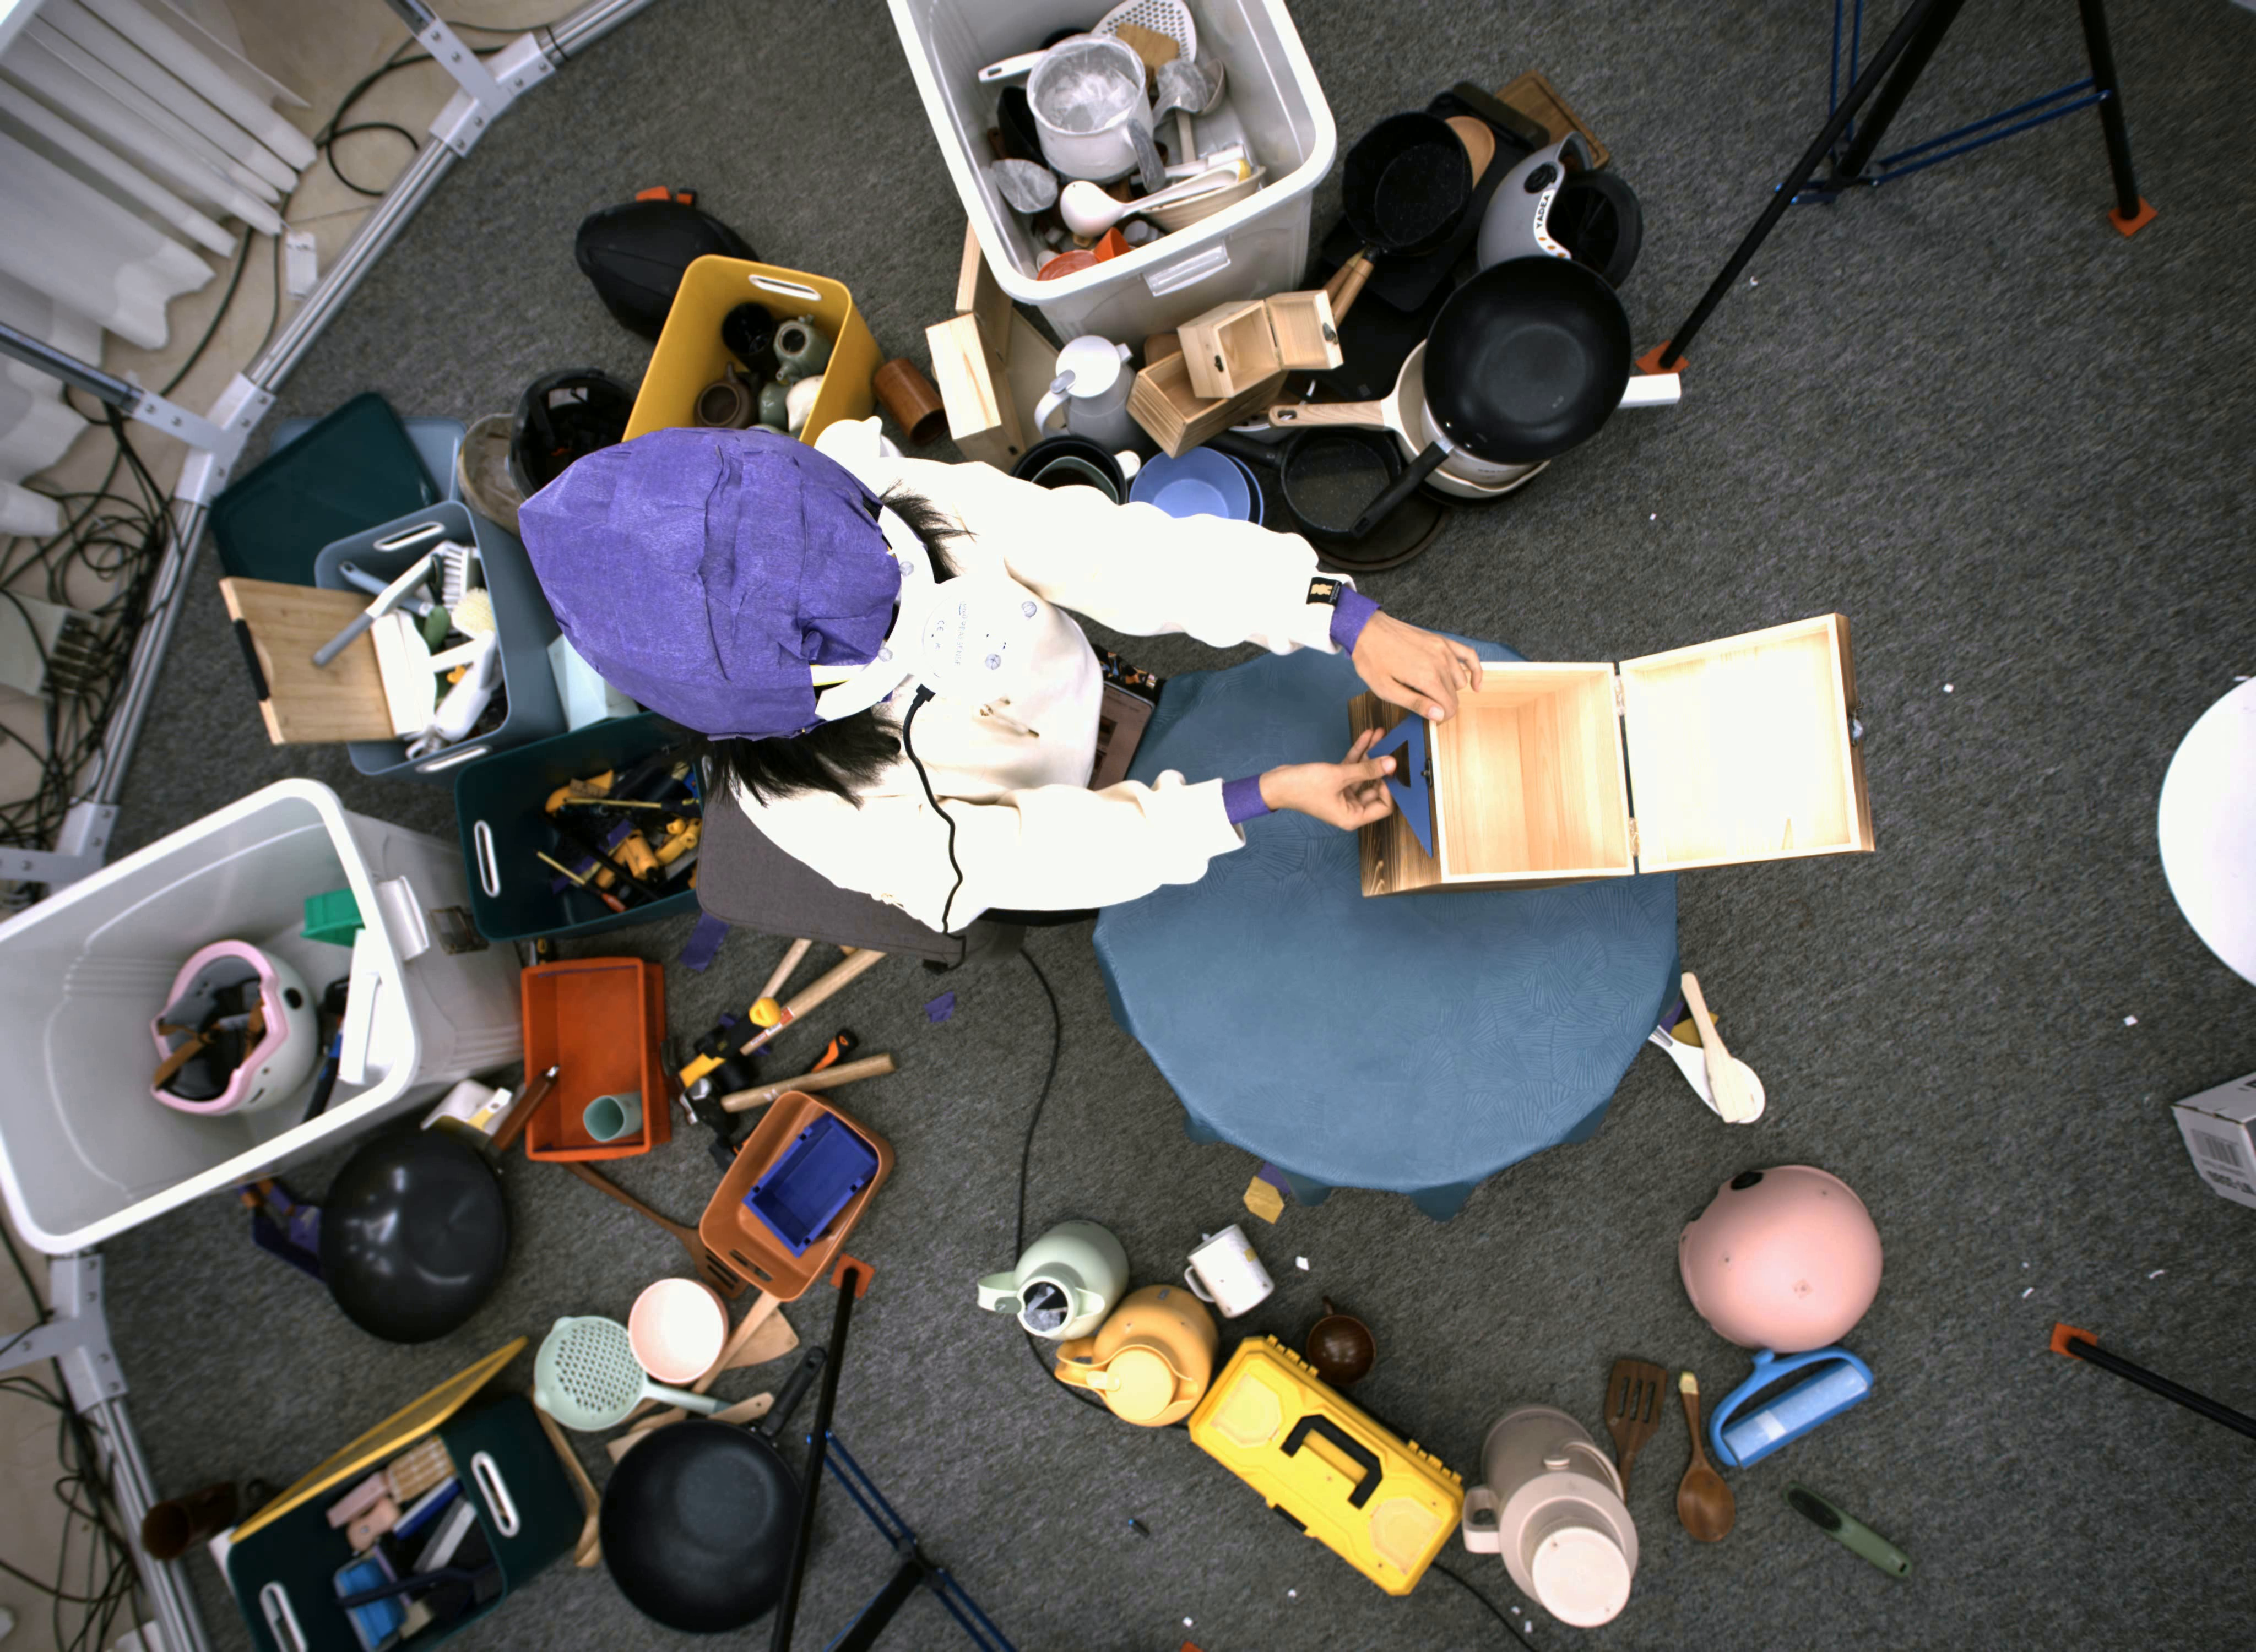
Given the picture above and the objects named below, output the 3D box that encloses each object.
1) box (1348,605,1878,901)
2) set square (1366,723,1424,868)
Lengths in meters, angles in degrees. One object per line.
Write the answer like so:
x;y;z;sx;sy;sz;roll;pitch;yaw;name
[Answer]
0.421;-0.059;1.254;0.321;0.379;0.207;-2;83;-16;box
0.243;-0.028;1.260;0.061;0.006;0.132;-1;90;44;set square
